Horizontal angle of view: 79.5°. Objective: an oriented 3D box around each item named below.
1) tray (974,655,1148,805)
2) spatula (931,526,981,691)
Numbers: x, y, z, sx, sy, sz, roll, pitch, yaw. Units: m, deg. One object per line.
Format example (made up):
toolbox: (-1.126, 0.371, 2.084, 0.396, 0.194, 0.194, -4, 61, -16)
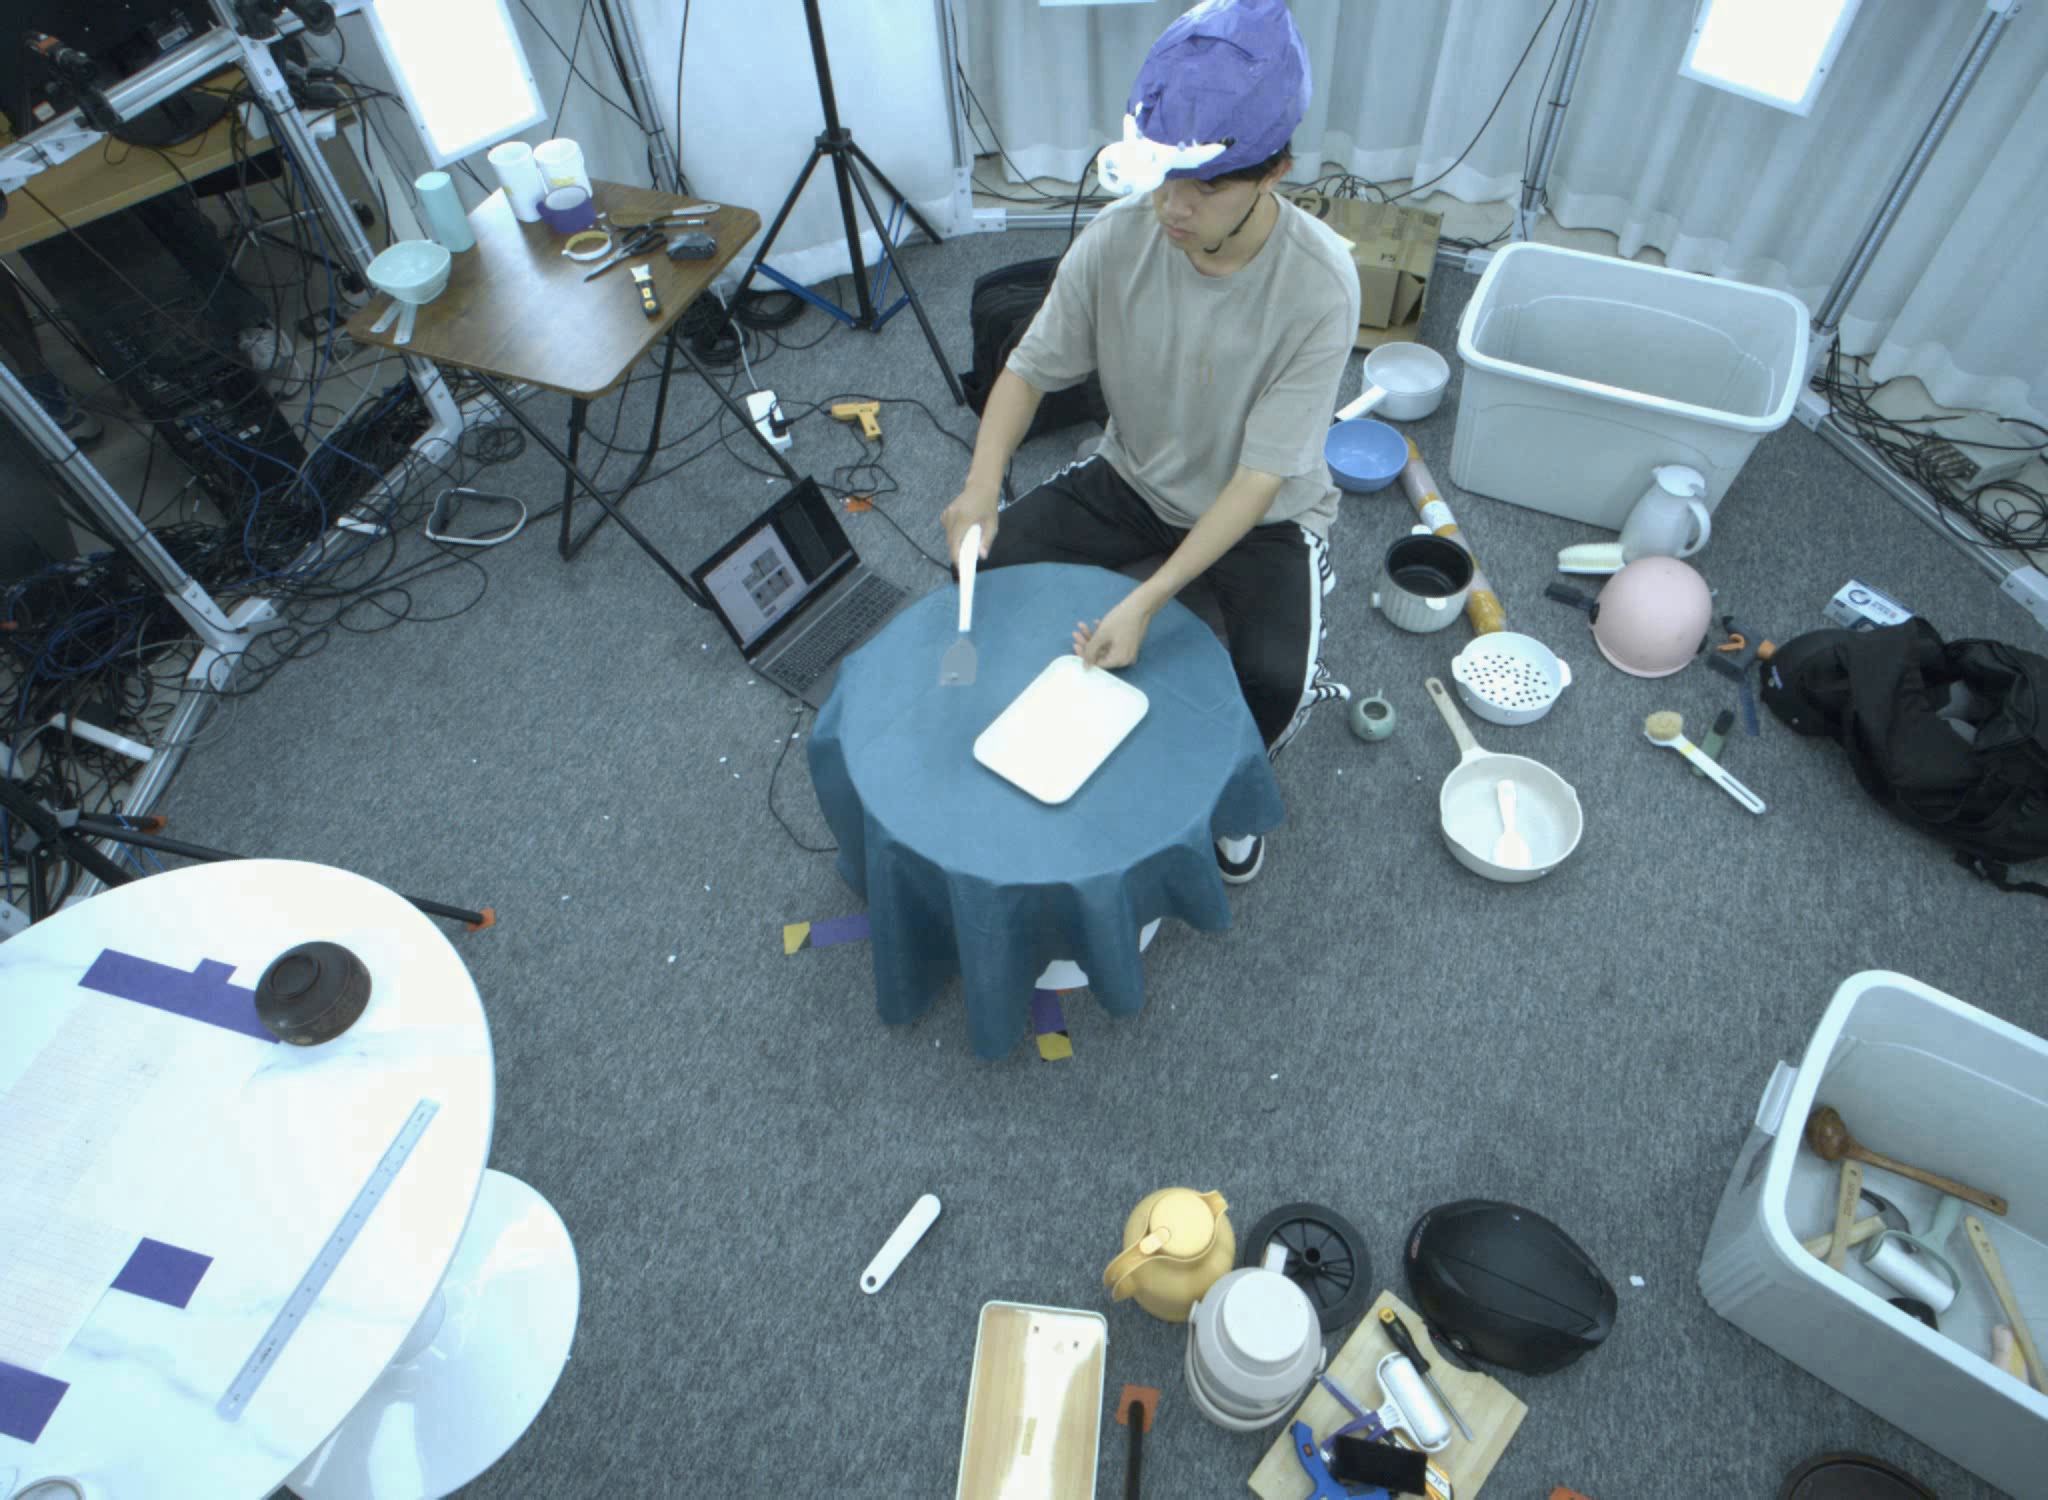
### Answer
tray: (0.055, -0.030, 1.794, 0.168, 0.017, 0.241, 33, 62, 22)
spatula: (-0.092, -0.205, 1.786, 0.058, 0.032, 0.285, 3, 62, 4)
